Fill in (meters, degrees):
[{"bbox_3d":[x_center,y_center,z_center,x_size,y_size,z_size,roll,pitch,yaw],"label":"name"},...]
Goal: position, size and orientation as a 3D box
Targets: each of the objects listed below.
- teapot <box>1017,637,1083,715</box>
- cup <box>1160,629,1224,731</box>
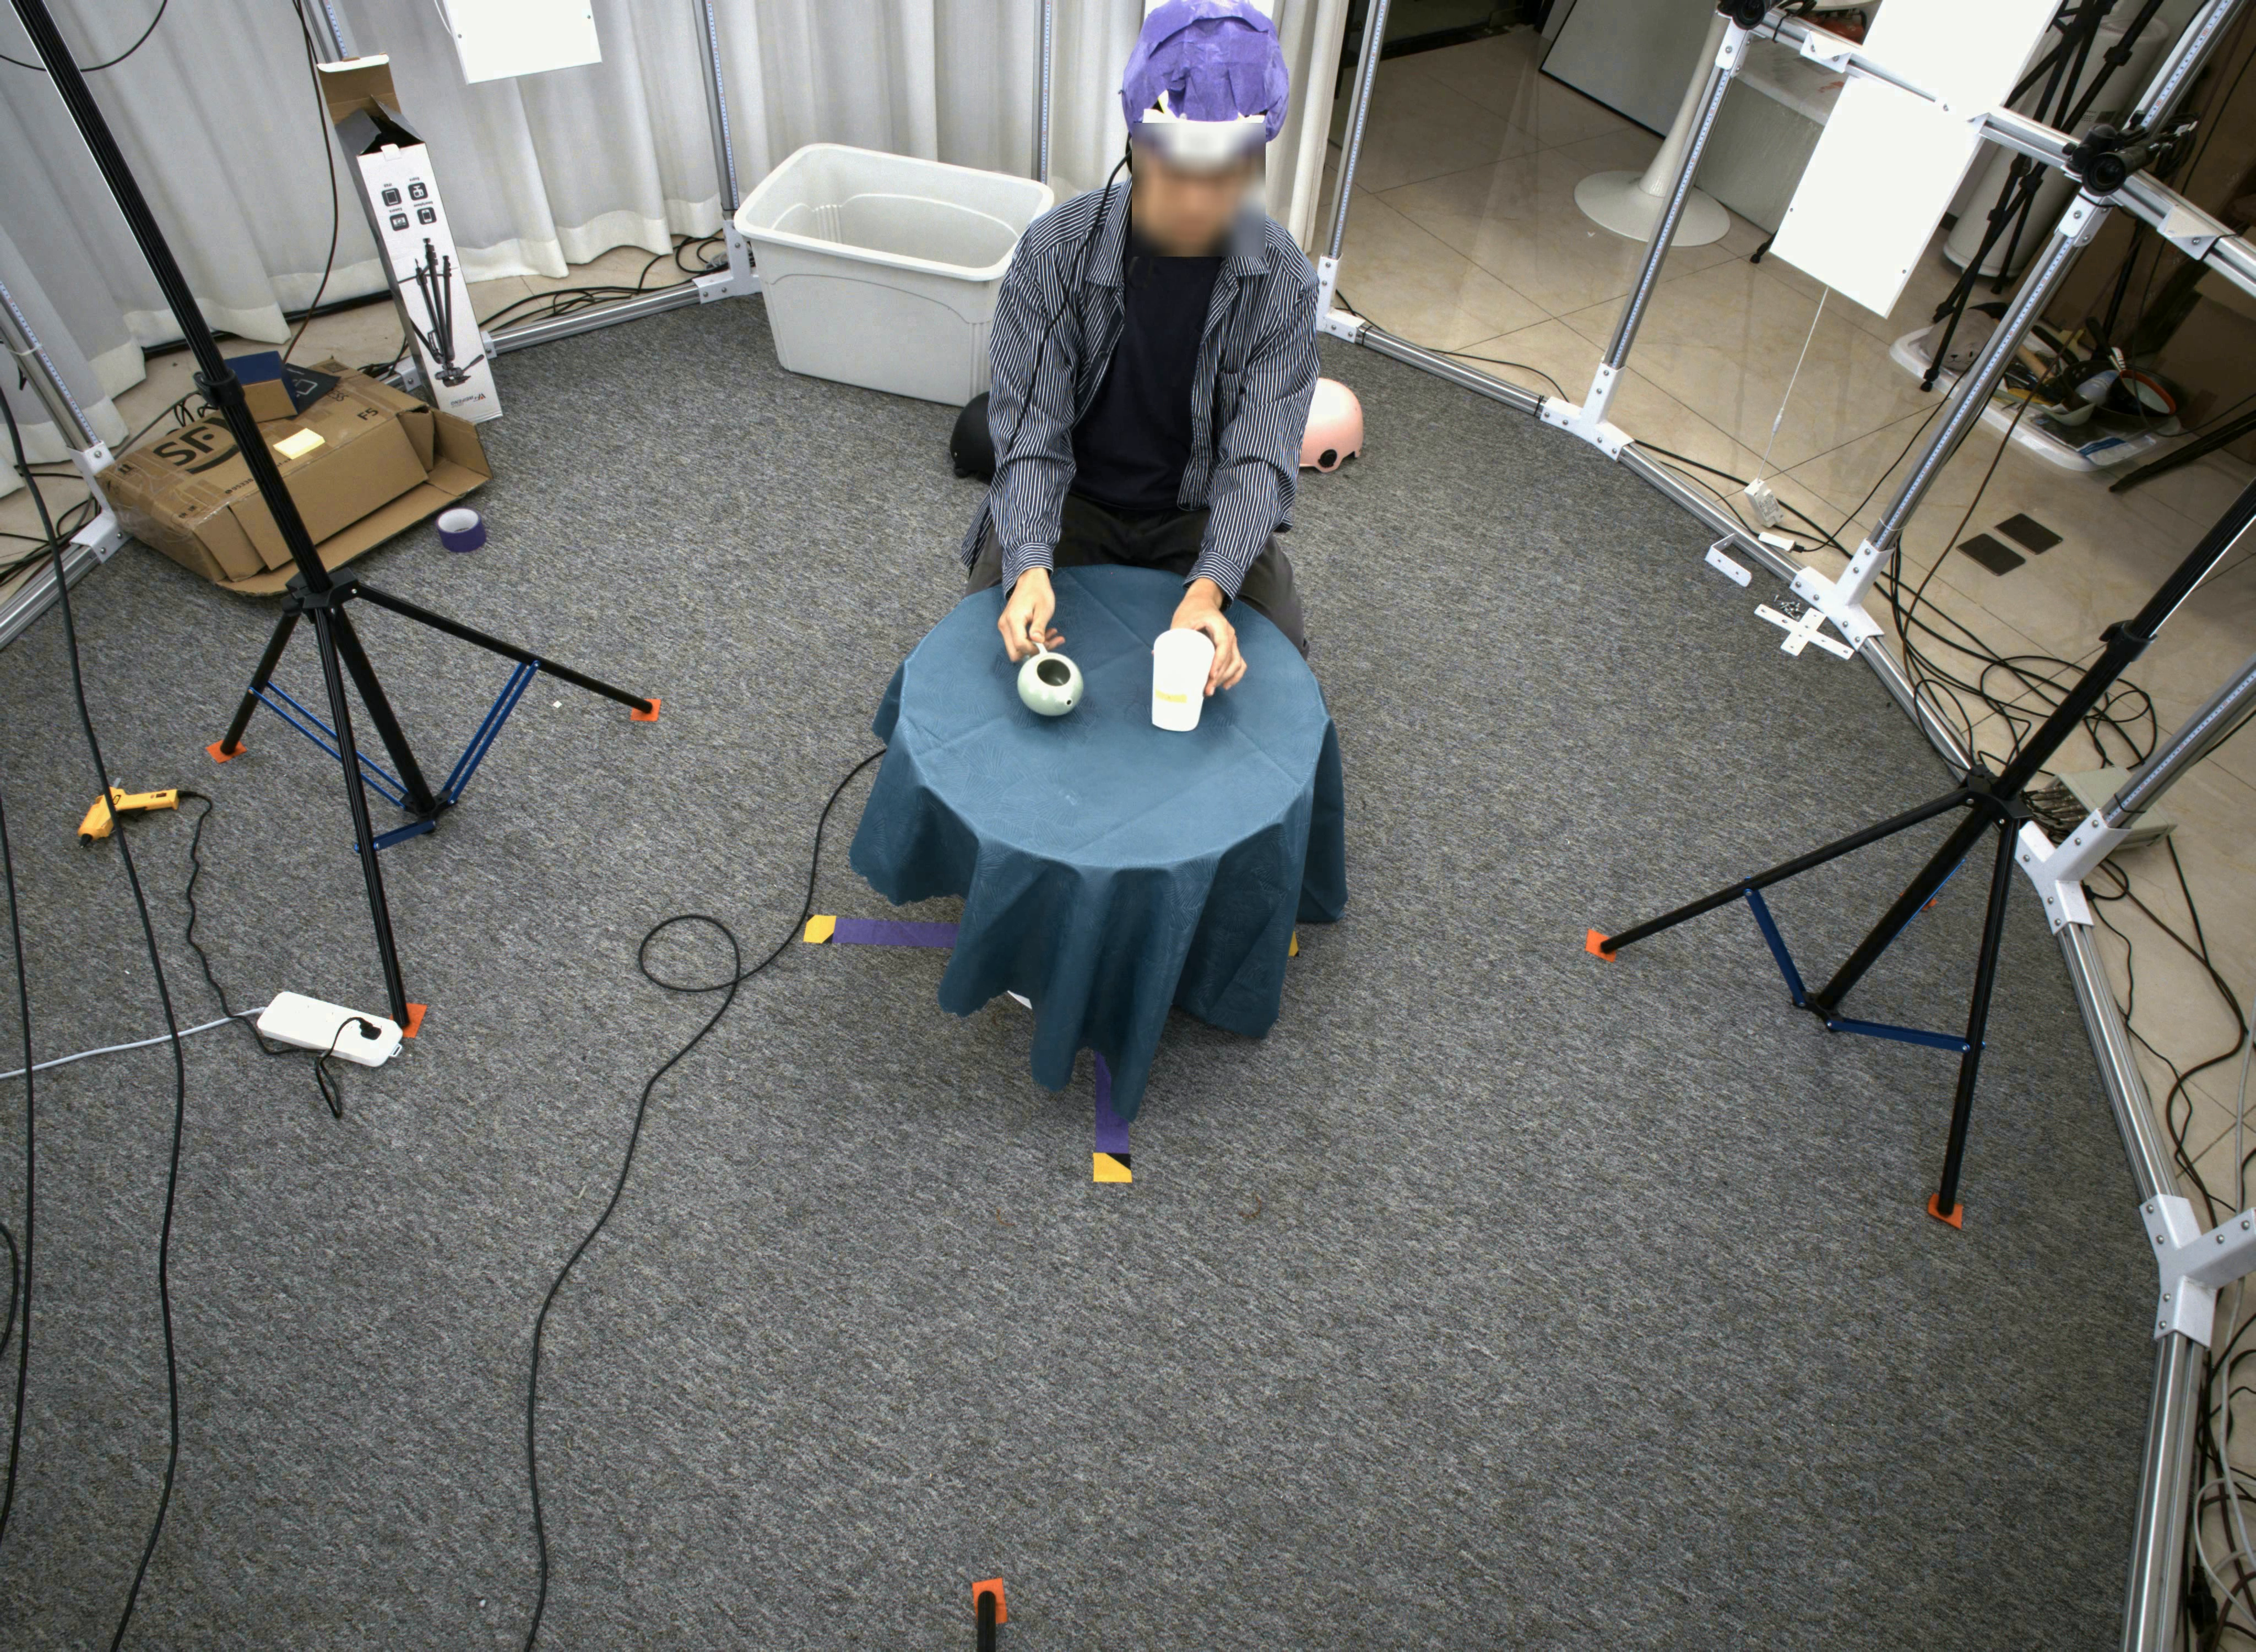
[{"bbox_3d":[-0.110,-0.204,1.767,0.091,0.060,0.131,-12,62,-20],"label":"teapot"},{"bbox_3d":[0.083,-0.196,1.752,0.081,0.122,0.084,3,49,-3],"label":"cup"}]
